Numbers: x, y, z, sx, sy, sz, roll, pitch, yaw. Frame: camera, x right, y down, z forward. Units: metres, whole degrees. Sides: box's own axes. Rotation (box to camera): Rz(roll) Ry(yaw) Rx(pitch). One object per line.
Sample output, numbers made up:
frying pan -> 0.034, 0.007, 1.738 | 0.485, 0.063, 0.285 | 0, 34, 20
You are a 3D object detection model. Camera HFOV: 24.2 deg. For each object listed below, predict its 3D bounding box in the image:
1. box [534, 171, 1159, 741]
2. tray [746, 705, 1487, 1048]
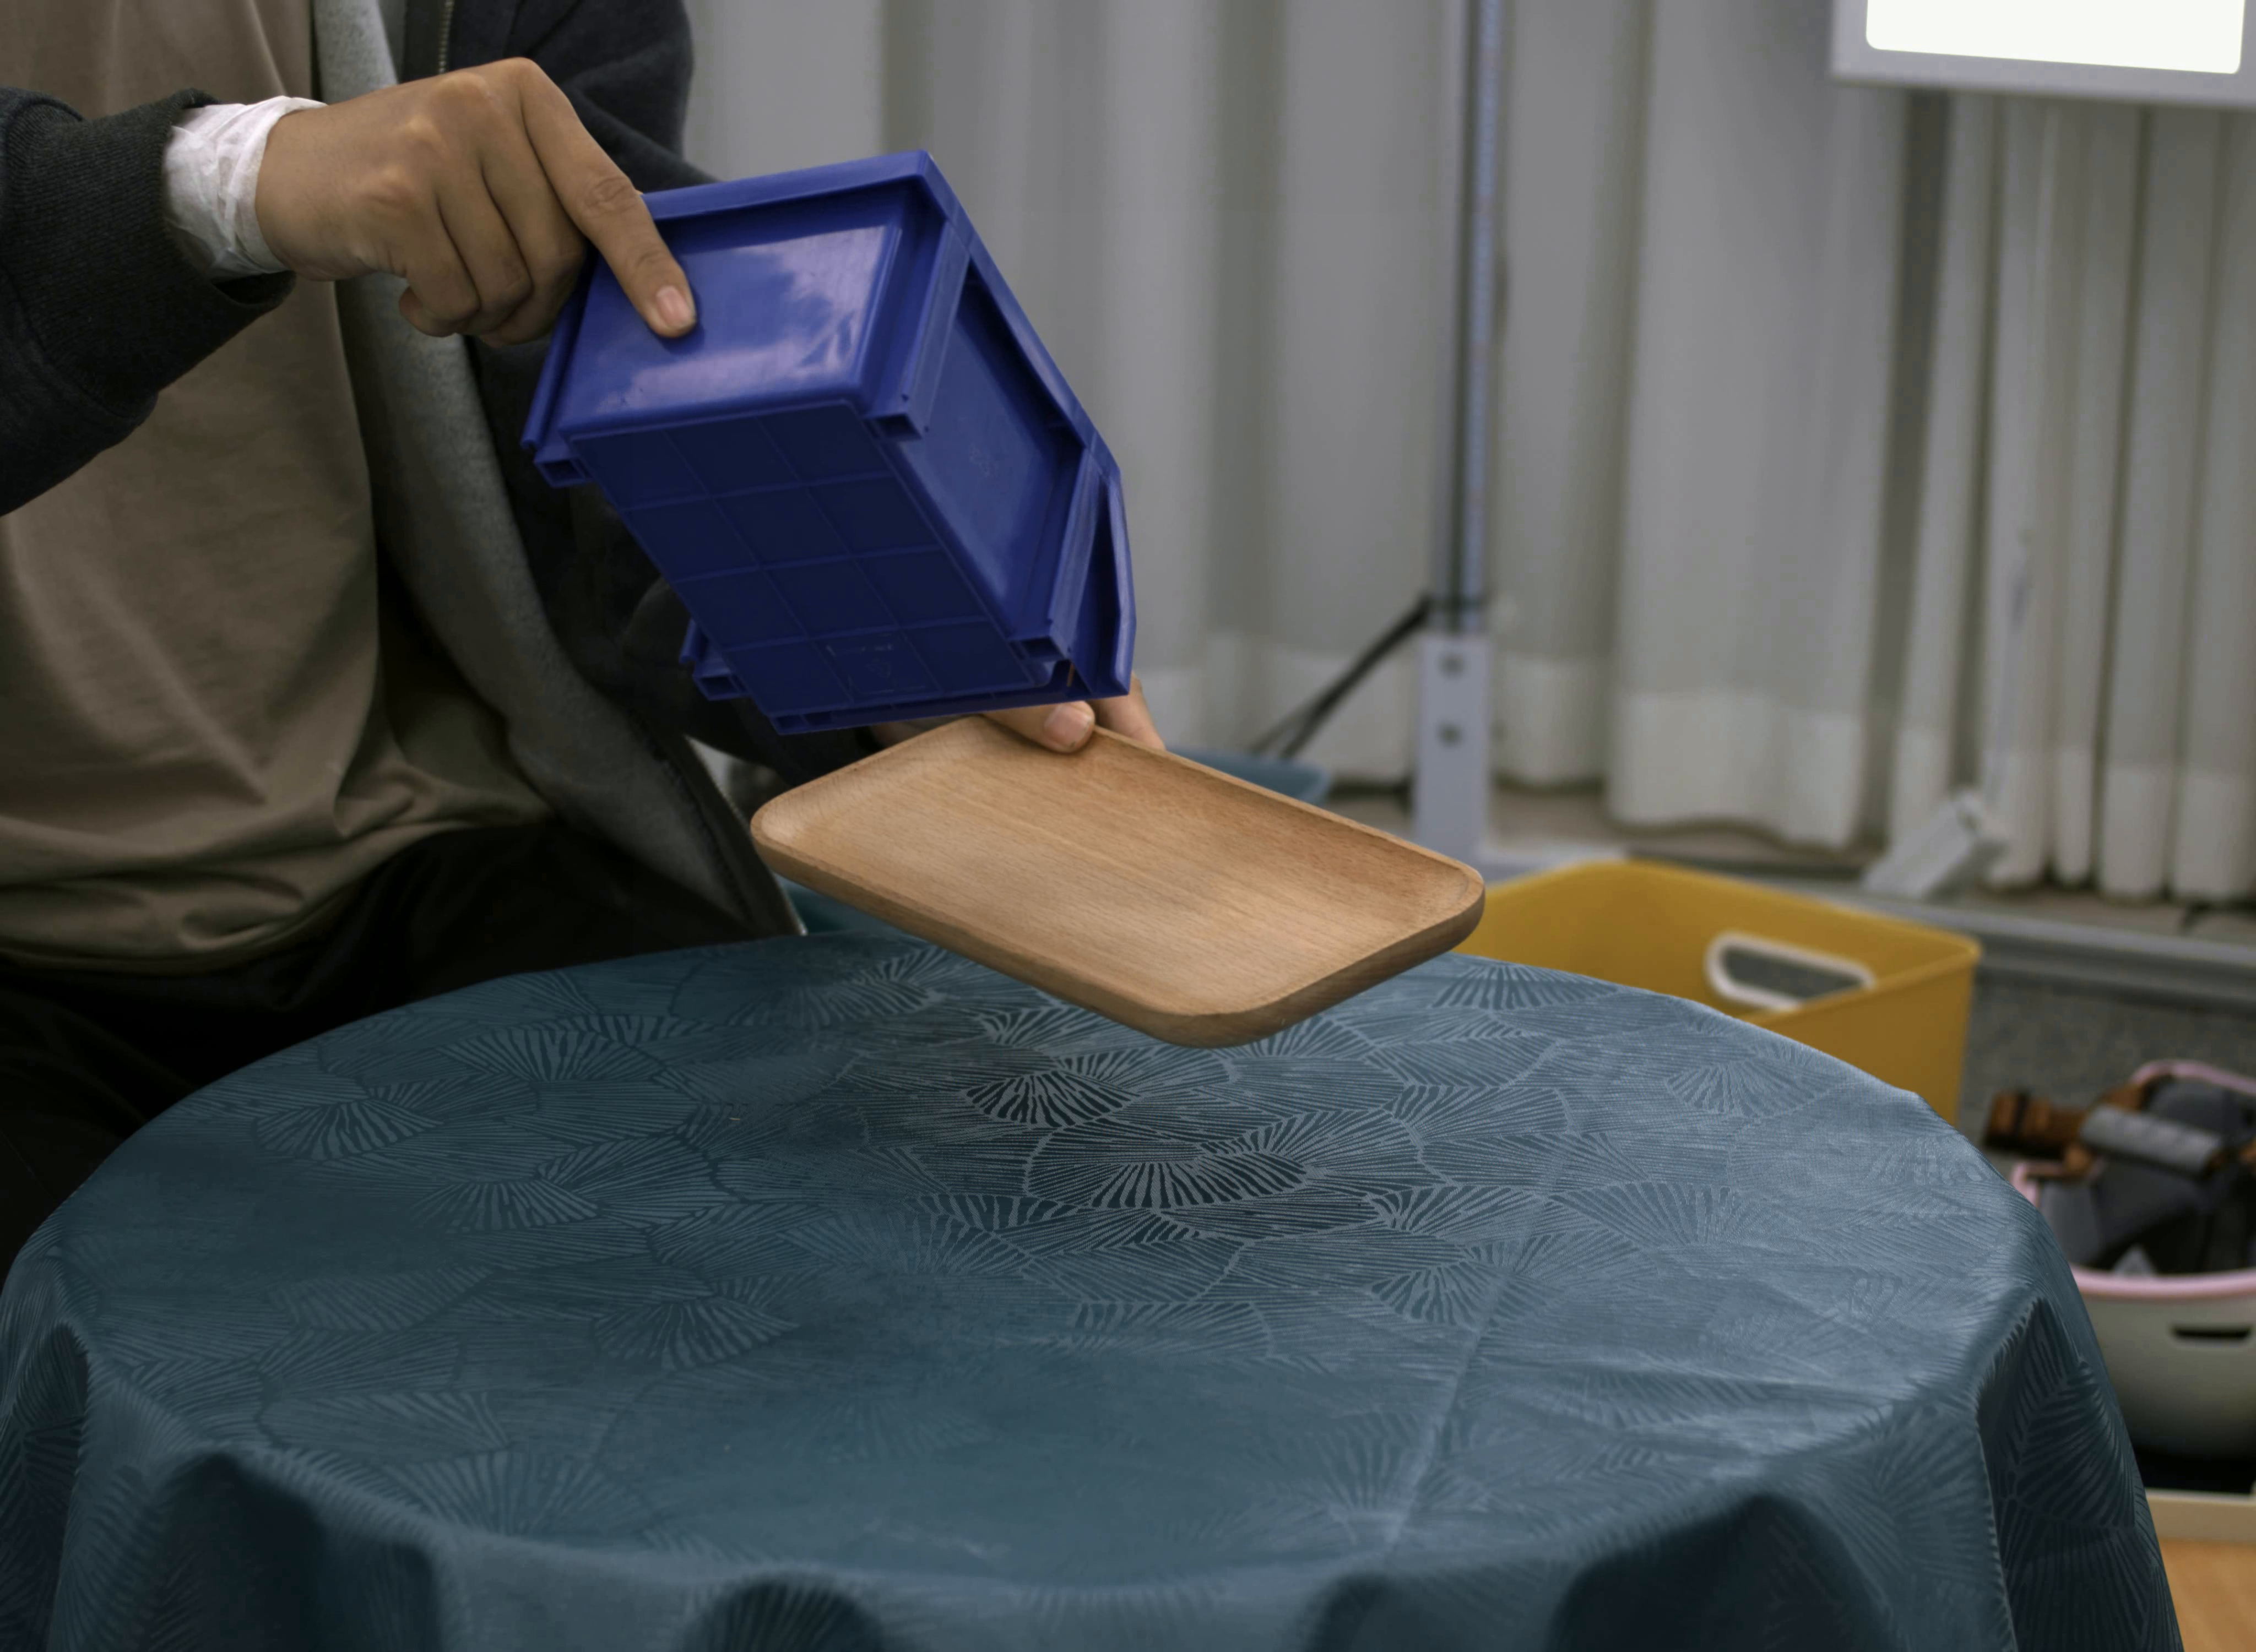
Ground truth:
box -> -0.081, -0.099, 1.560 | 0.123, 0.182, 0.081 | -8, 56, 25
tray -> -0.007, 0.013, 1.648 | 0.131, 0.023, 0.247 | -21, 27, -34
